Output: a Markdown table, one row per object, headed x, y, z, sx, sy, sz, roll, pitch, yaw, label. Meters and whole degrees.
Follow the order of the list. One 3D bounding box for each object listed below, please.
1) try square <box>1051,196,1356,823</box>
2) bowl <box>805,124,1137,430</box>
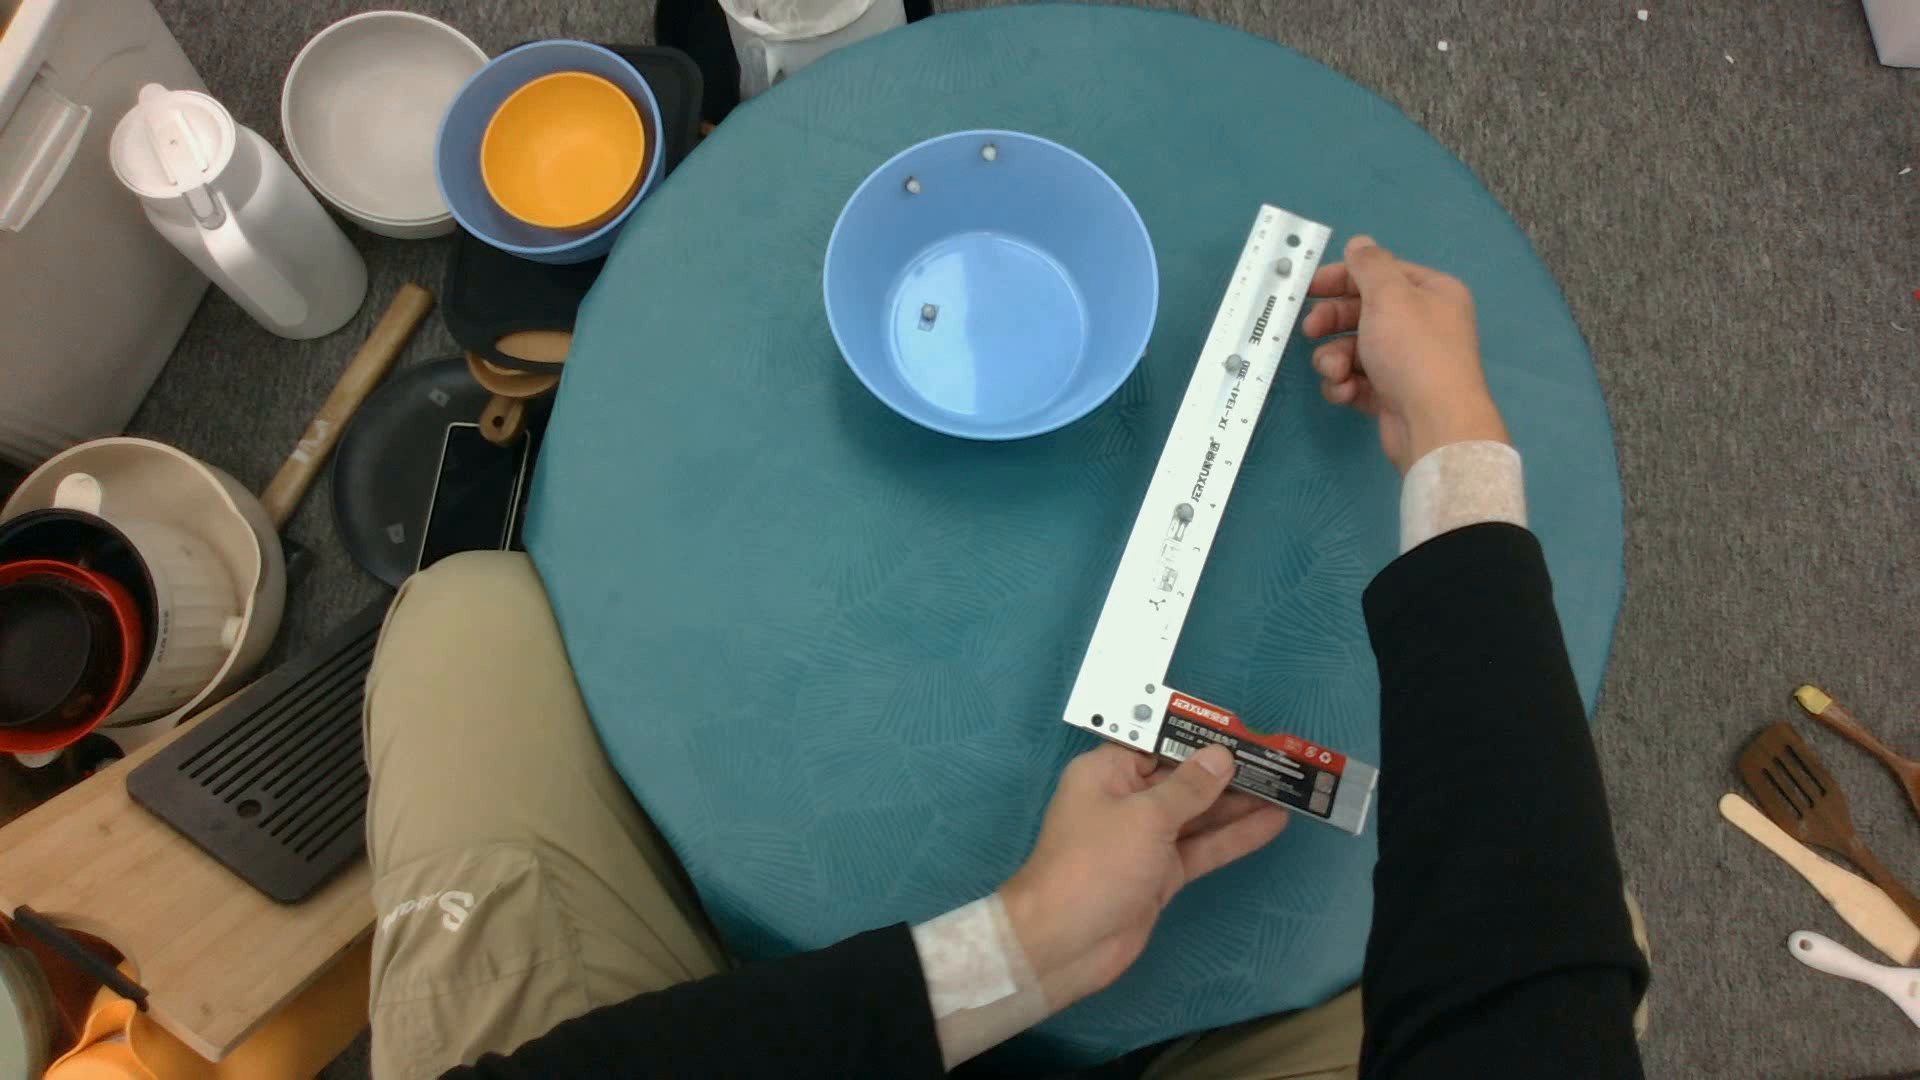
| x | y | z | sx | sy | sz | roll | pitch | yaw | label |
| --- | --- | --- | --- | --- | --- | --- | --- | --- | --- |
| 0.167 | -0.026 | 0.721 | 0.152 | 0.016 | 0.314 | 21 | 73 | 0 | try square |
| 0.005 | -0.132 | 0.751 | 0.176 | 0.070 | 0.176 | 1 | 74 | -4 | bowl |
